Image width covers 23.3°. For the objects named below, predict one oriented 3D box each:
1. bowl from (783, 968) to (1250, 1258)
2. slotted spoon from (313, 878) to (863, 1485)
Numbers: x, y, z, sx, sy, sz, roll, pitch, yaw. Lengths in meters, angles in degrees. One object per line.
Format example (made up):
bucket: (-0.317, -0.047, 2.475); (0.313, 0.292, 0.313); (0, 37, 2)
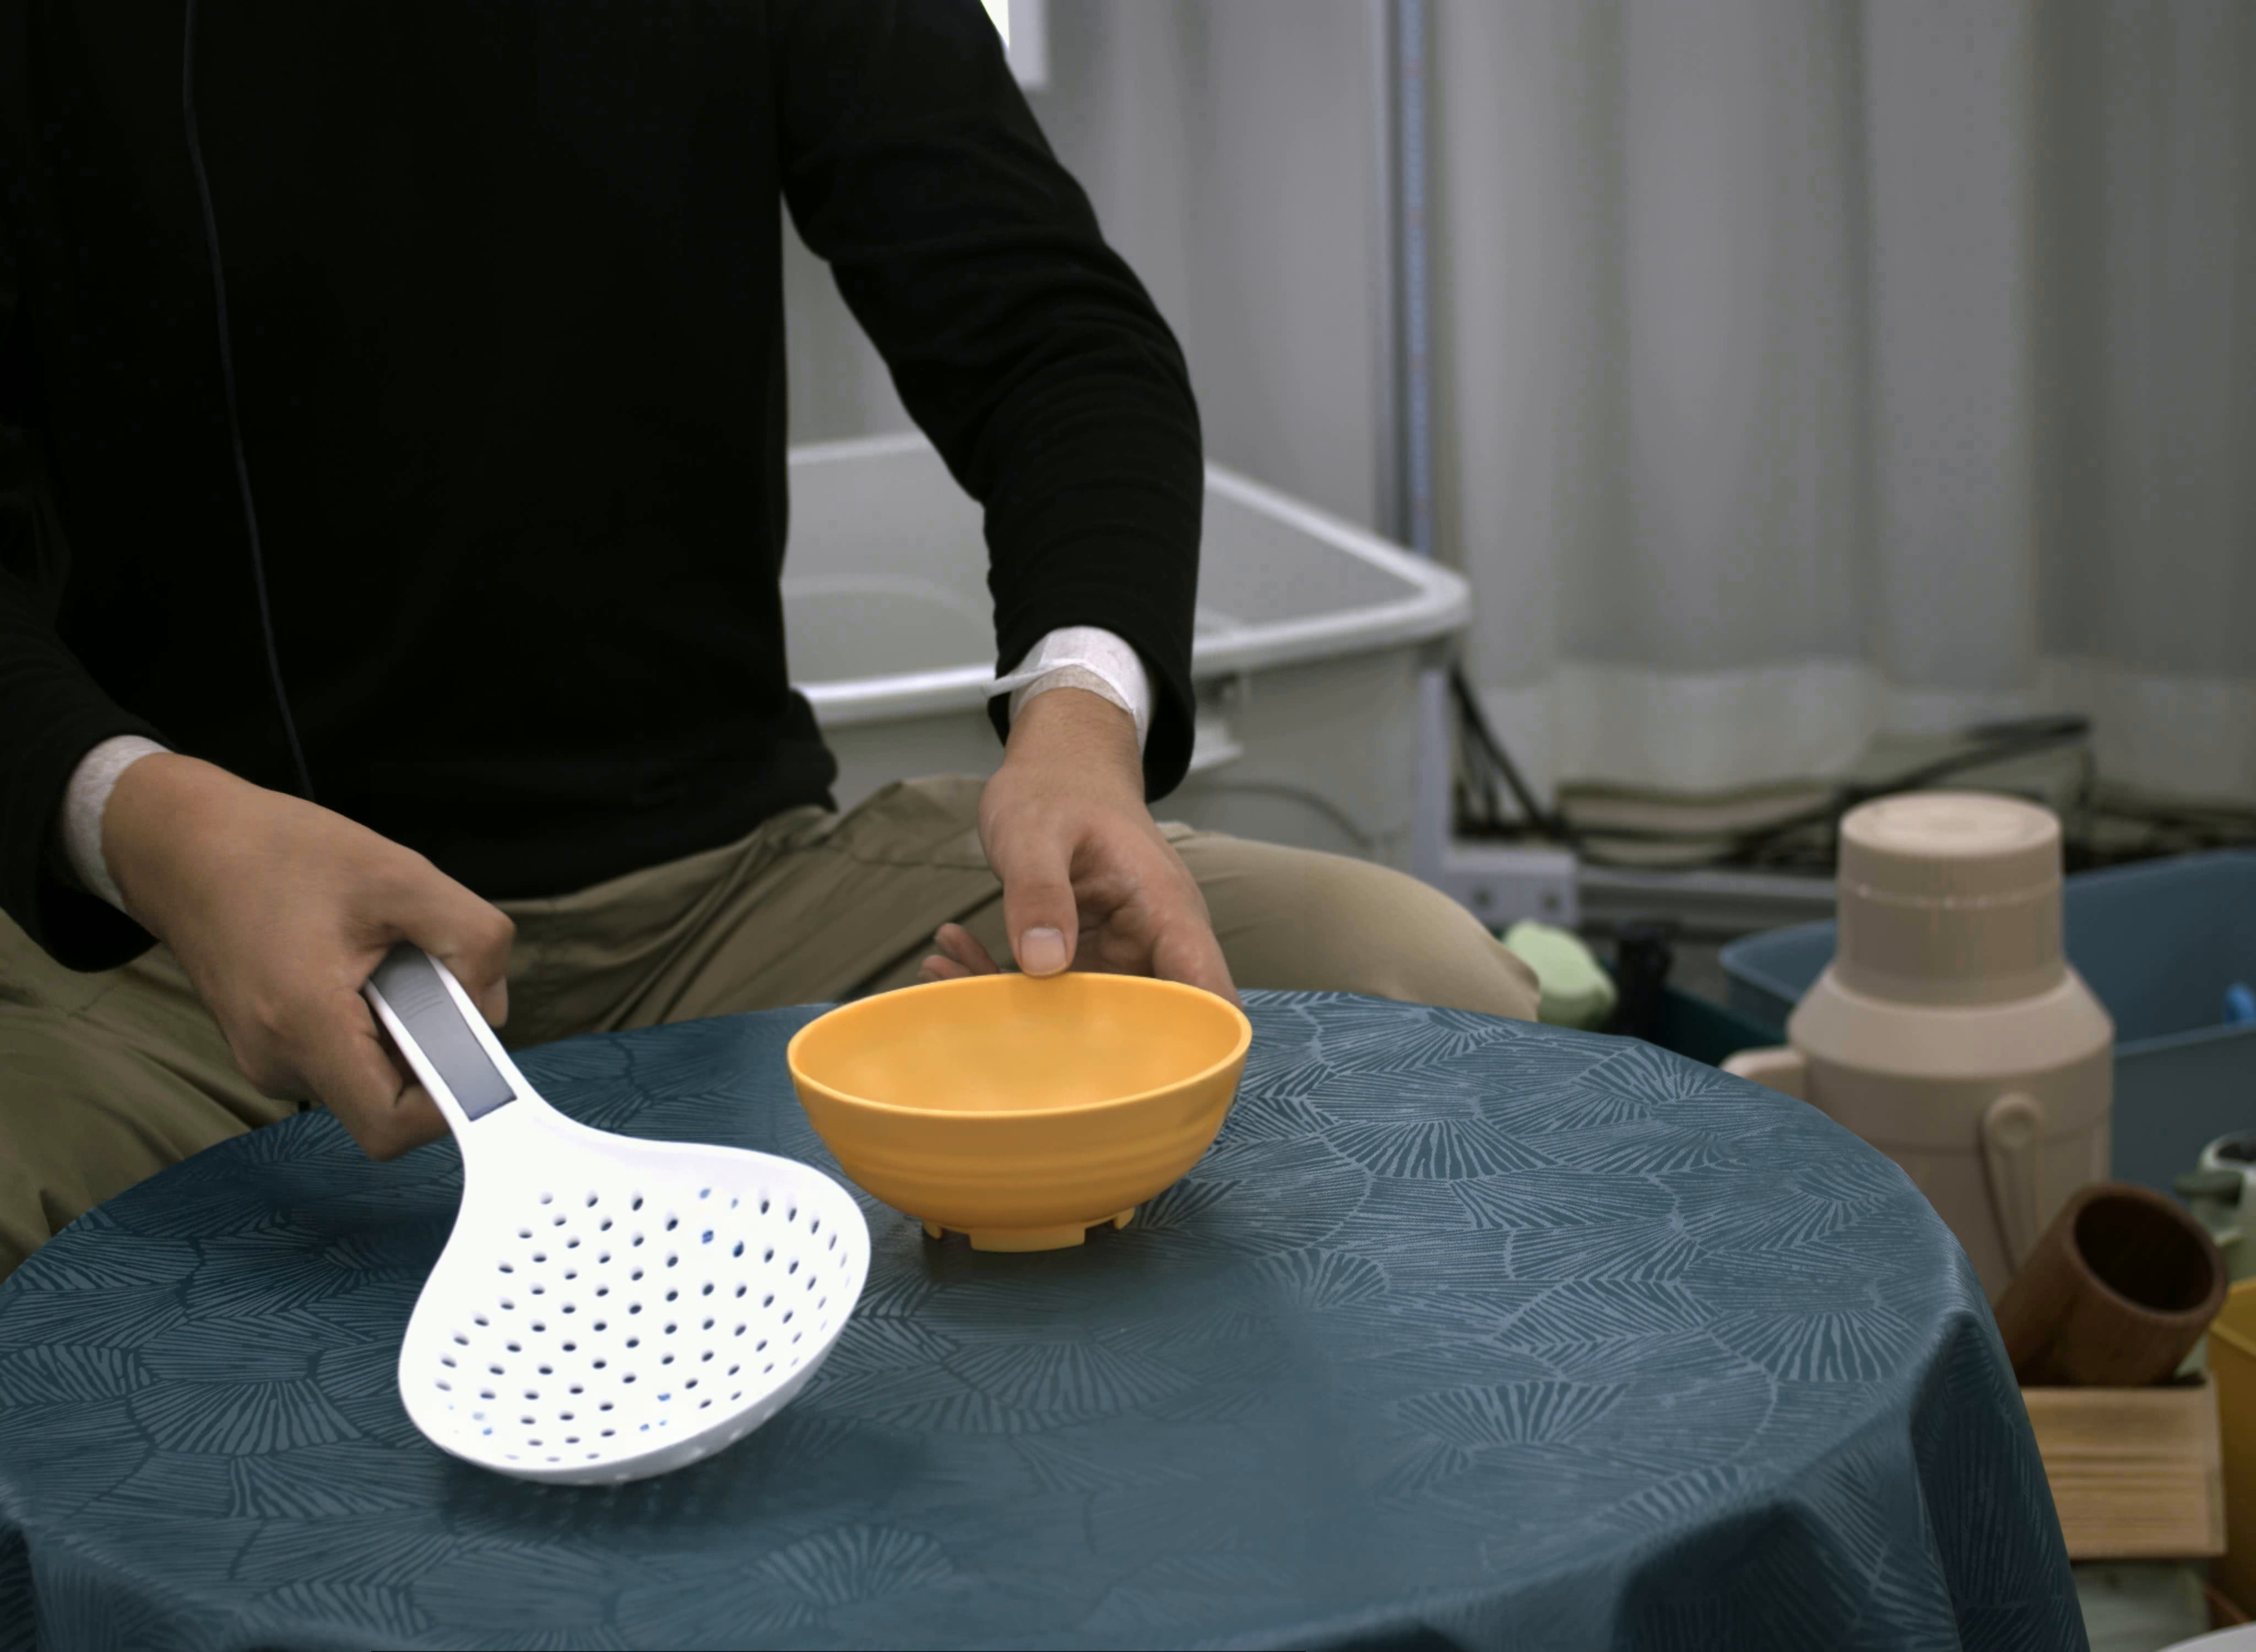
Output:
bowl: (-0.034, 0.094, 1.689); (0.145, 0.060, 0.146); (-1, 16, 0)
slotted spoon: (-0.179, 0.095, 1.604); (0.136, 0.045, 0.354); (-27, 36, -12)
